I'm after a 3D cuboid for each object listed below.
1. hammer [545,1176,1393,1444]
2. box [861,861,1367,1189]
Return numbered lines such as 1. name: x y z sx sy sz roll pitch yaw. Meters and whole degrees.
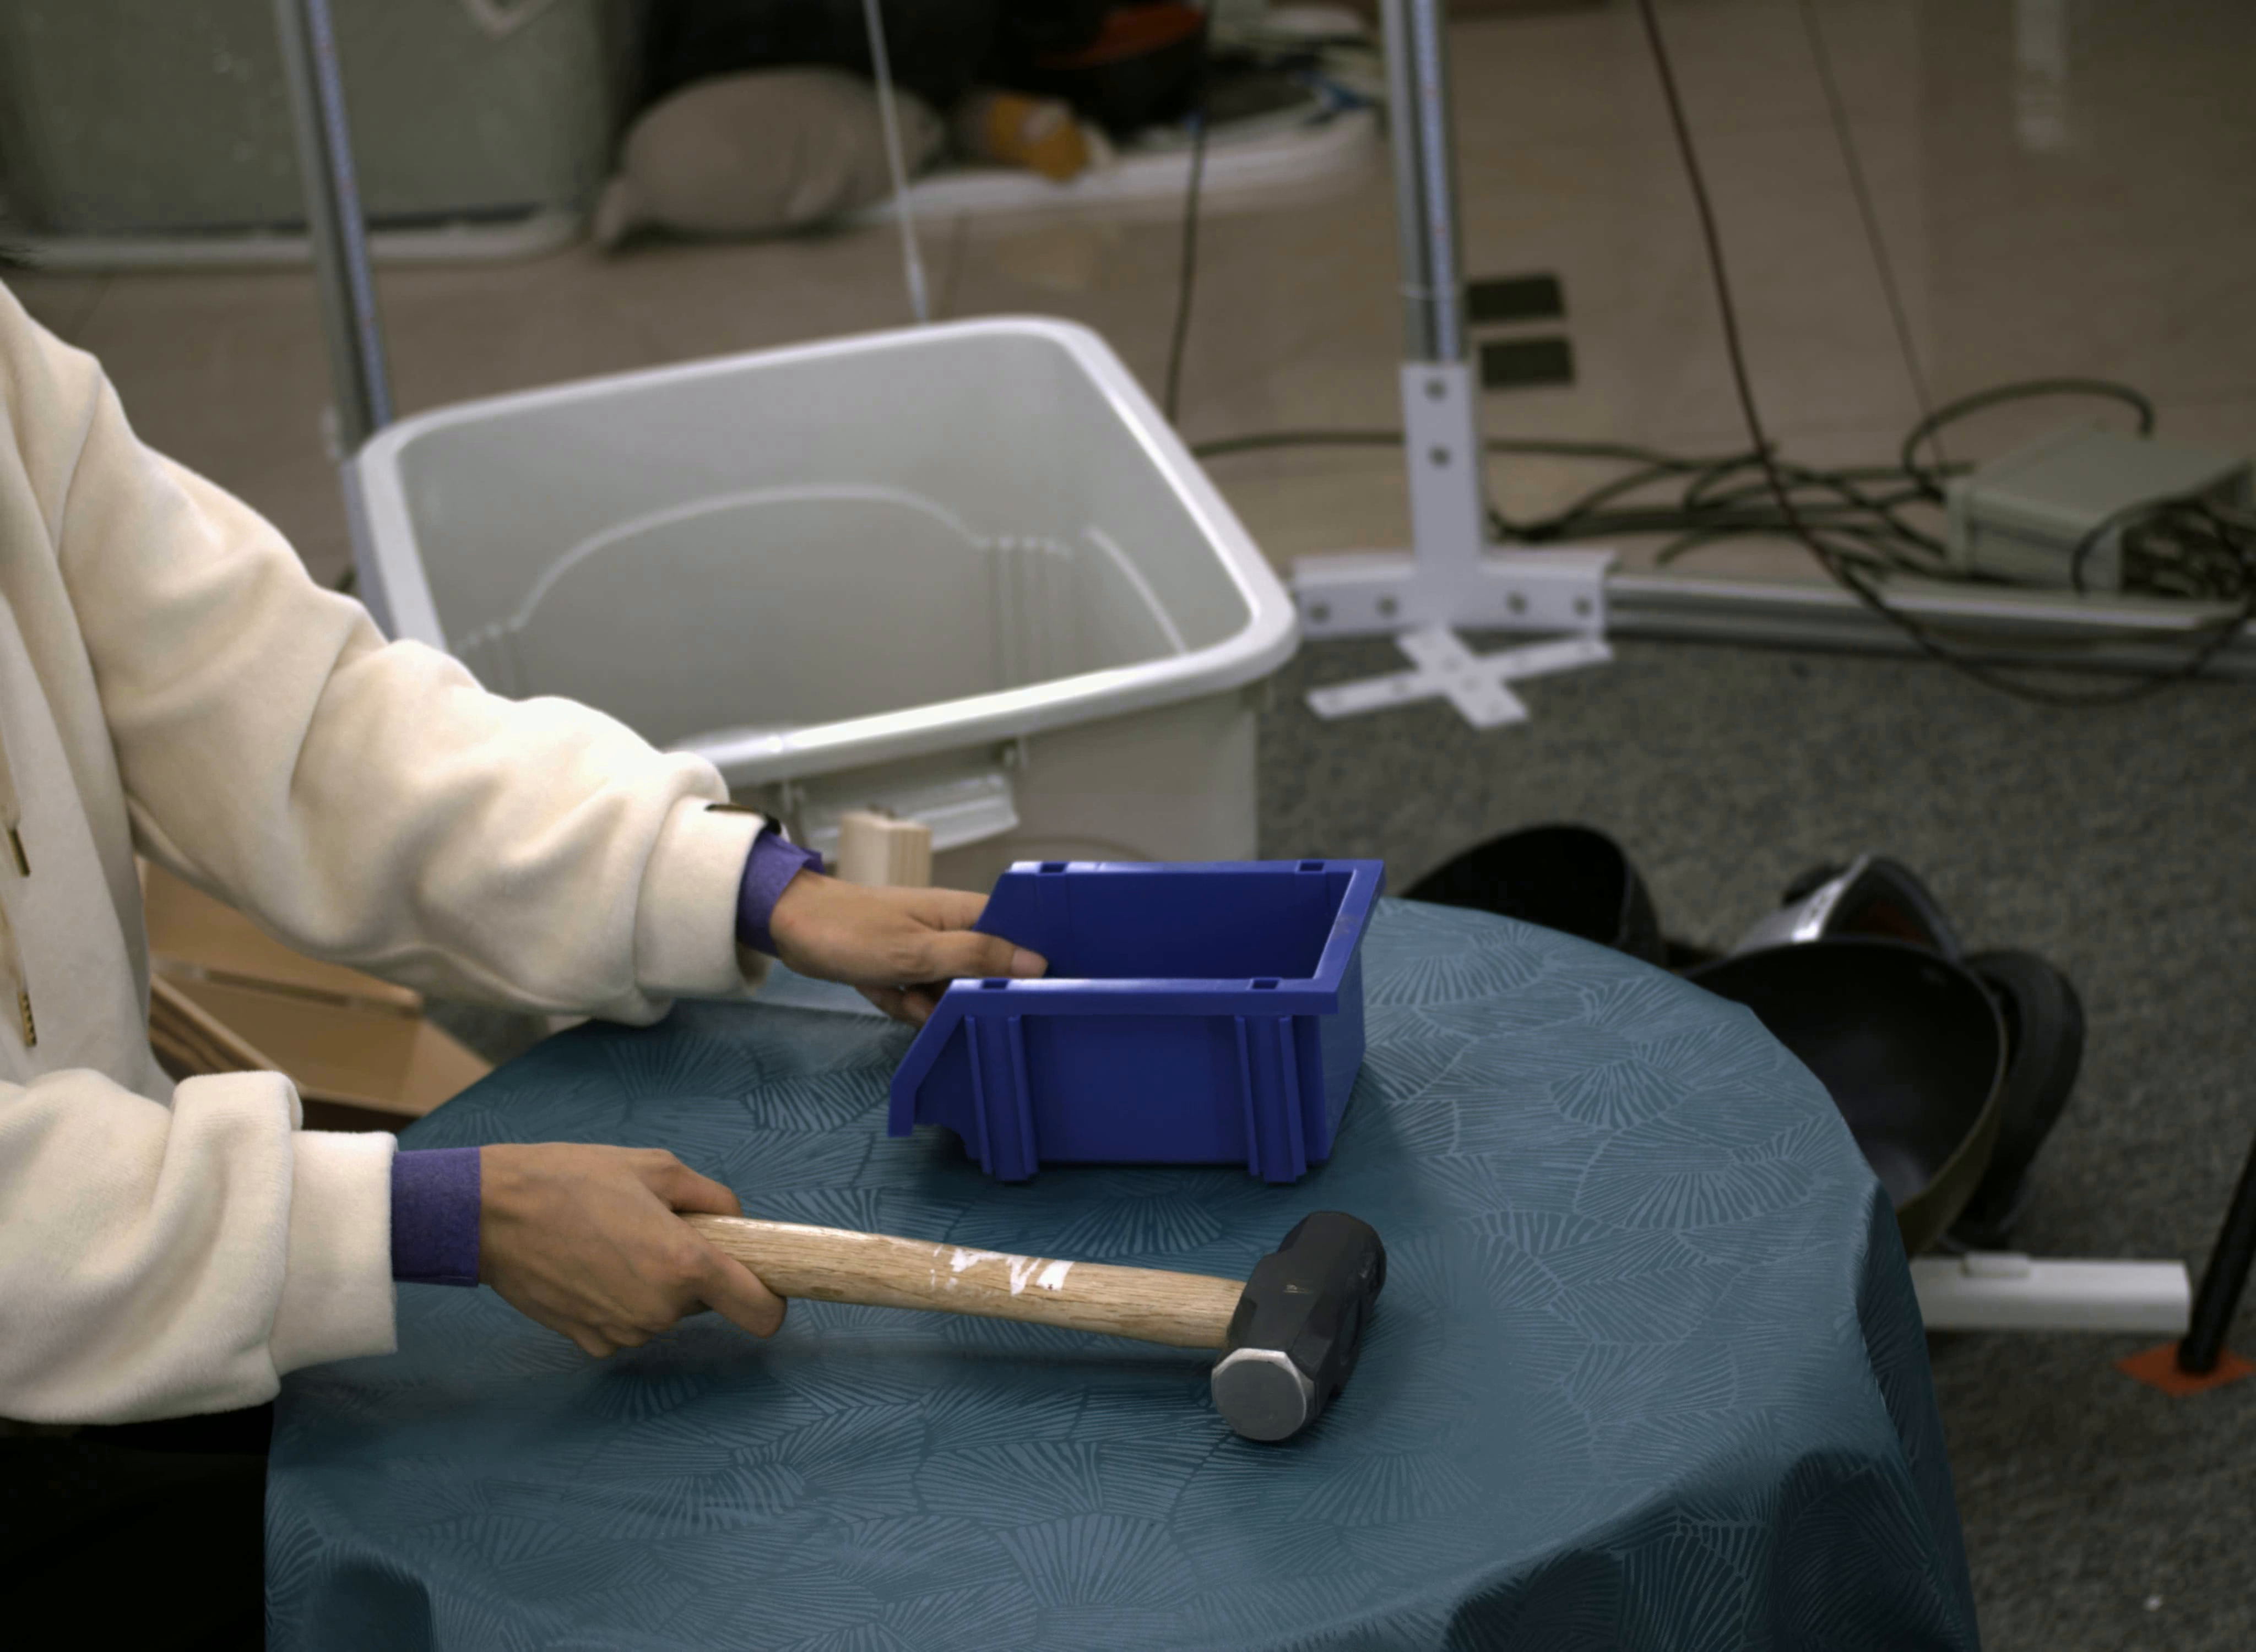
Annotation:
1. hammer: -0.065 0.161 2.042 0.304 0.039 0.106 7 27 17
2. box: -0.004 0.076 2.185 0.179 0.083 0.123 2 26 12
